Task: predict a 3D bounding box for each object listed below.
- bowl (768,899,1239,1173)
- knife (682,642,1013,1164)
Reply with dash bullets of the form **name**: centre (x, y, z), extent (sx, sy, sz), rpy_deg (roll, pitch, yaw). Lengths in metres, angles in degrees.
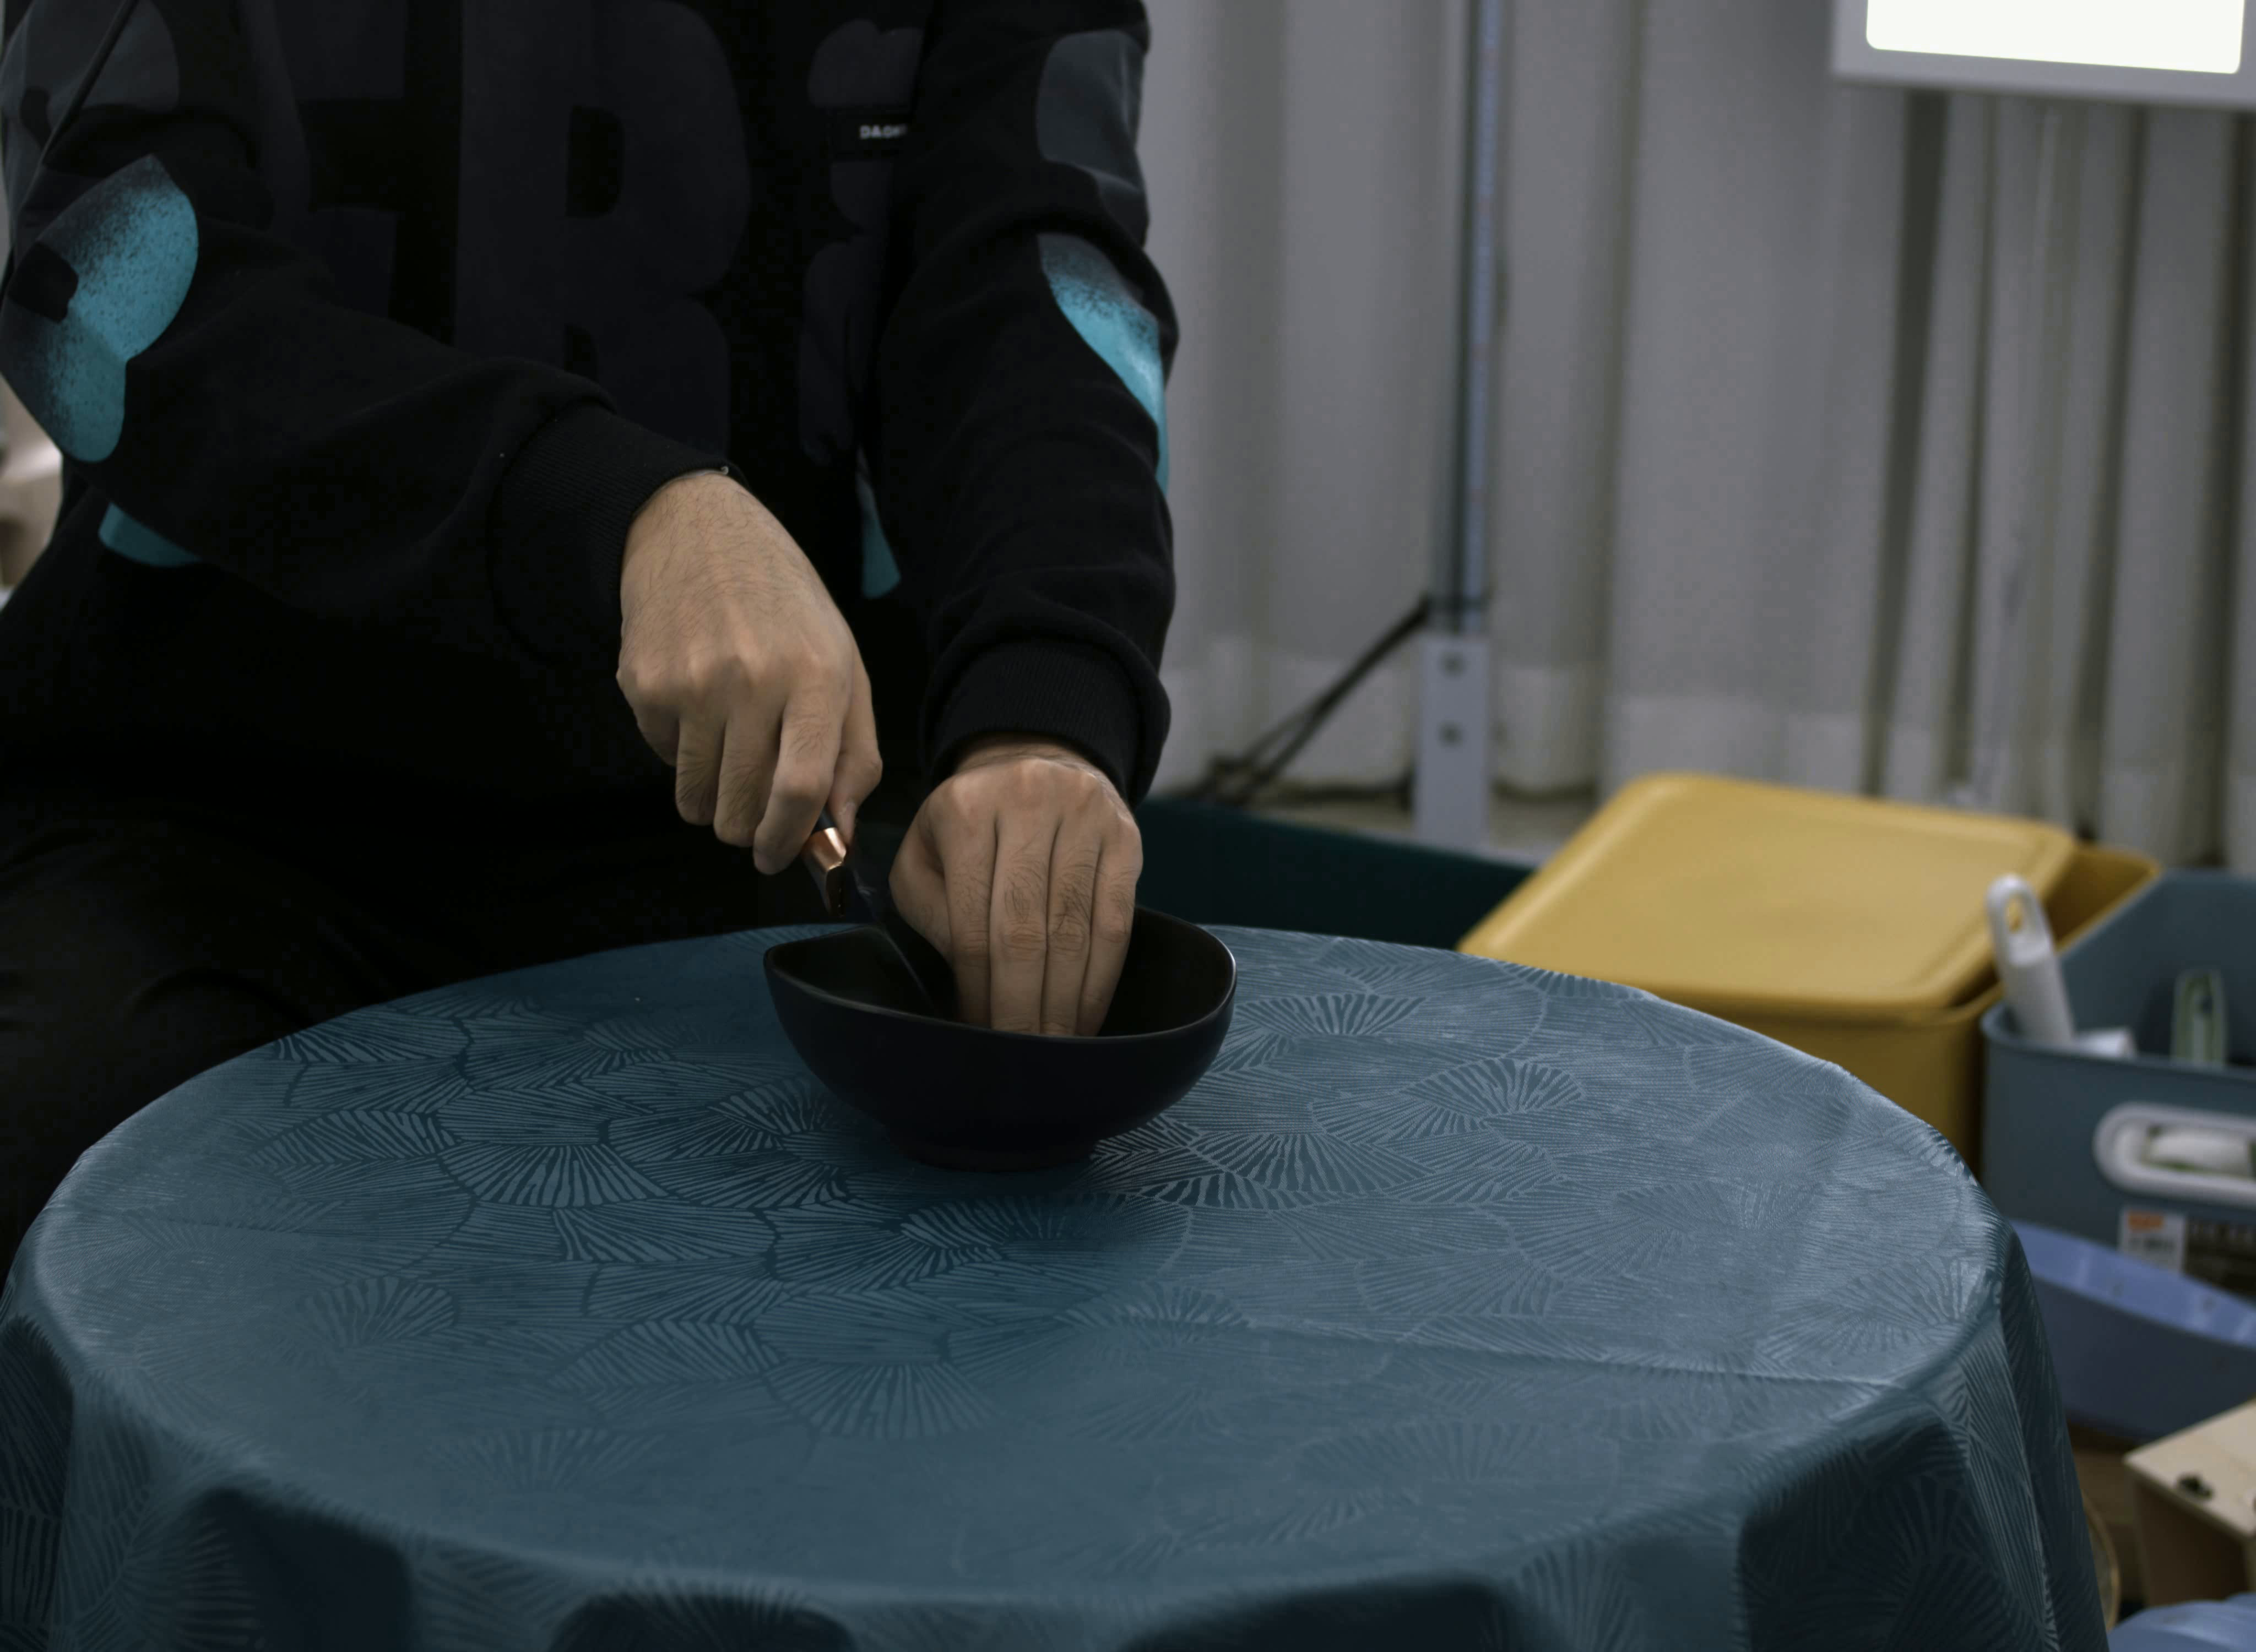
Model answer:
- **bowl**: centre (-0.041, 0.069, 1.656), extent (0.138, 0.067, 0.168), rpy_deg (-13, 18, -40)
- **knife**: centre (-0.089, 0.022, 1.682), extent (0.017, 0.026, 0.223), rpy_deg (-21, 56, -20)
